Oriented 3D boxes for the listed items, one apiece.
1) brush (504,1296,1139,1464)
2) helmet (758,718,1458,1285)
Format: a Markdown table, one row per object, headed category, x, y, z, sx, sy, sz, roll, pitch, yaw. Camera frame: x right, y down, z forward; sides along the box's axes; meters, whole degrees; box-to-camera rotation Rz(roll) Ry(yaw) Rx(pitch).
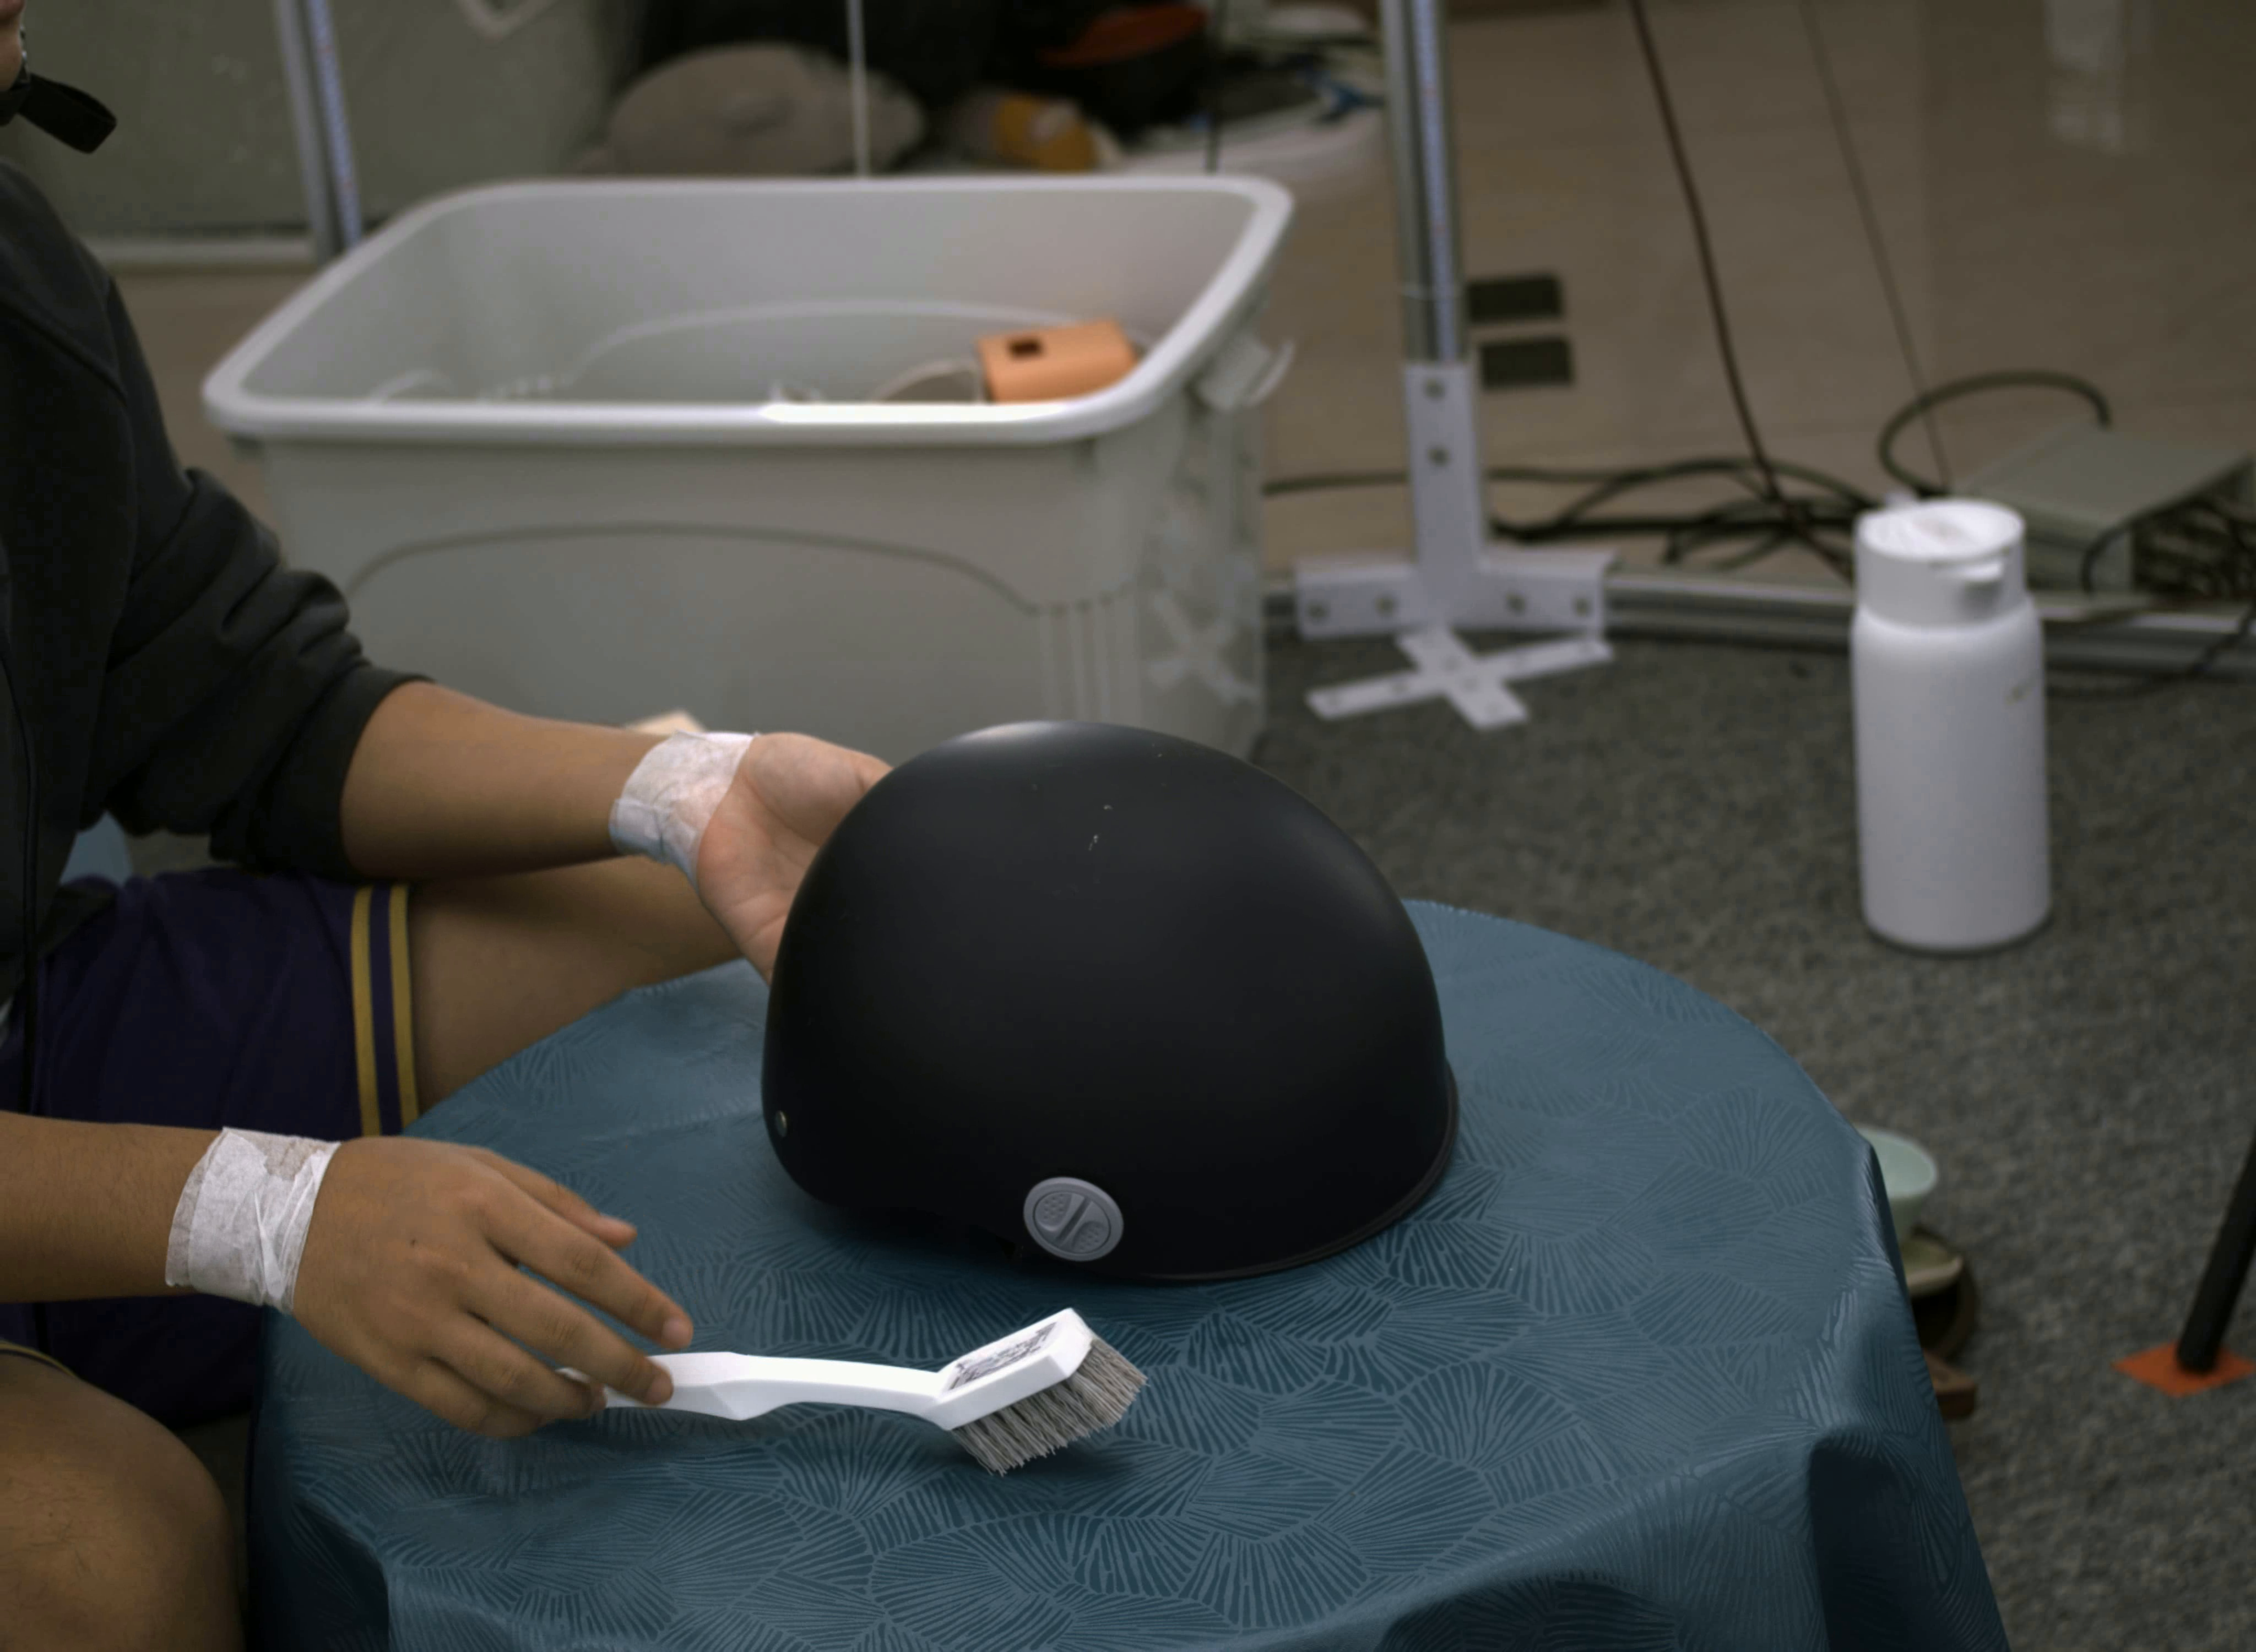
| category | x | y | z | sx | sy | sz | roll | pitch | yaw |
| --- | --- | --- | --- | --- | --- | --- | --- | --- | --- |
| brush | -0.110 | 0.206 | 2.002 | 0.244 | 0.051 | 0.034 | -10 | 26 | 25 |
| helmet | -0.013 | 0.050 | 2.132 | 0.272 | 0.170 | 0.227 | 12 | 39 | 26 |
